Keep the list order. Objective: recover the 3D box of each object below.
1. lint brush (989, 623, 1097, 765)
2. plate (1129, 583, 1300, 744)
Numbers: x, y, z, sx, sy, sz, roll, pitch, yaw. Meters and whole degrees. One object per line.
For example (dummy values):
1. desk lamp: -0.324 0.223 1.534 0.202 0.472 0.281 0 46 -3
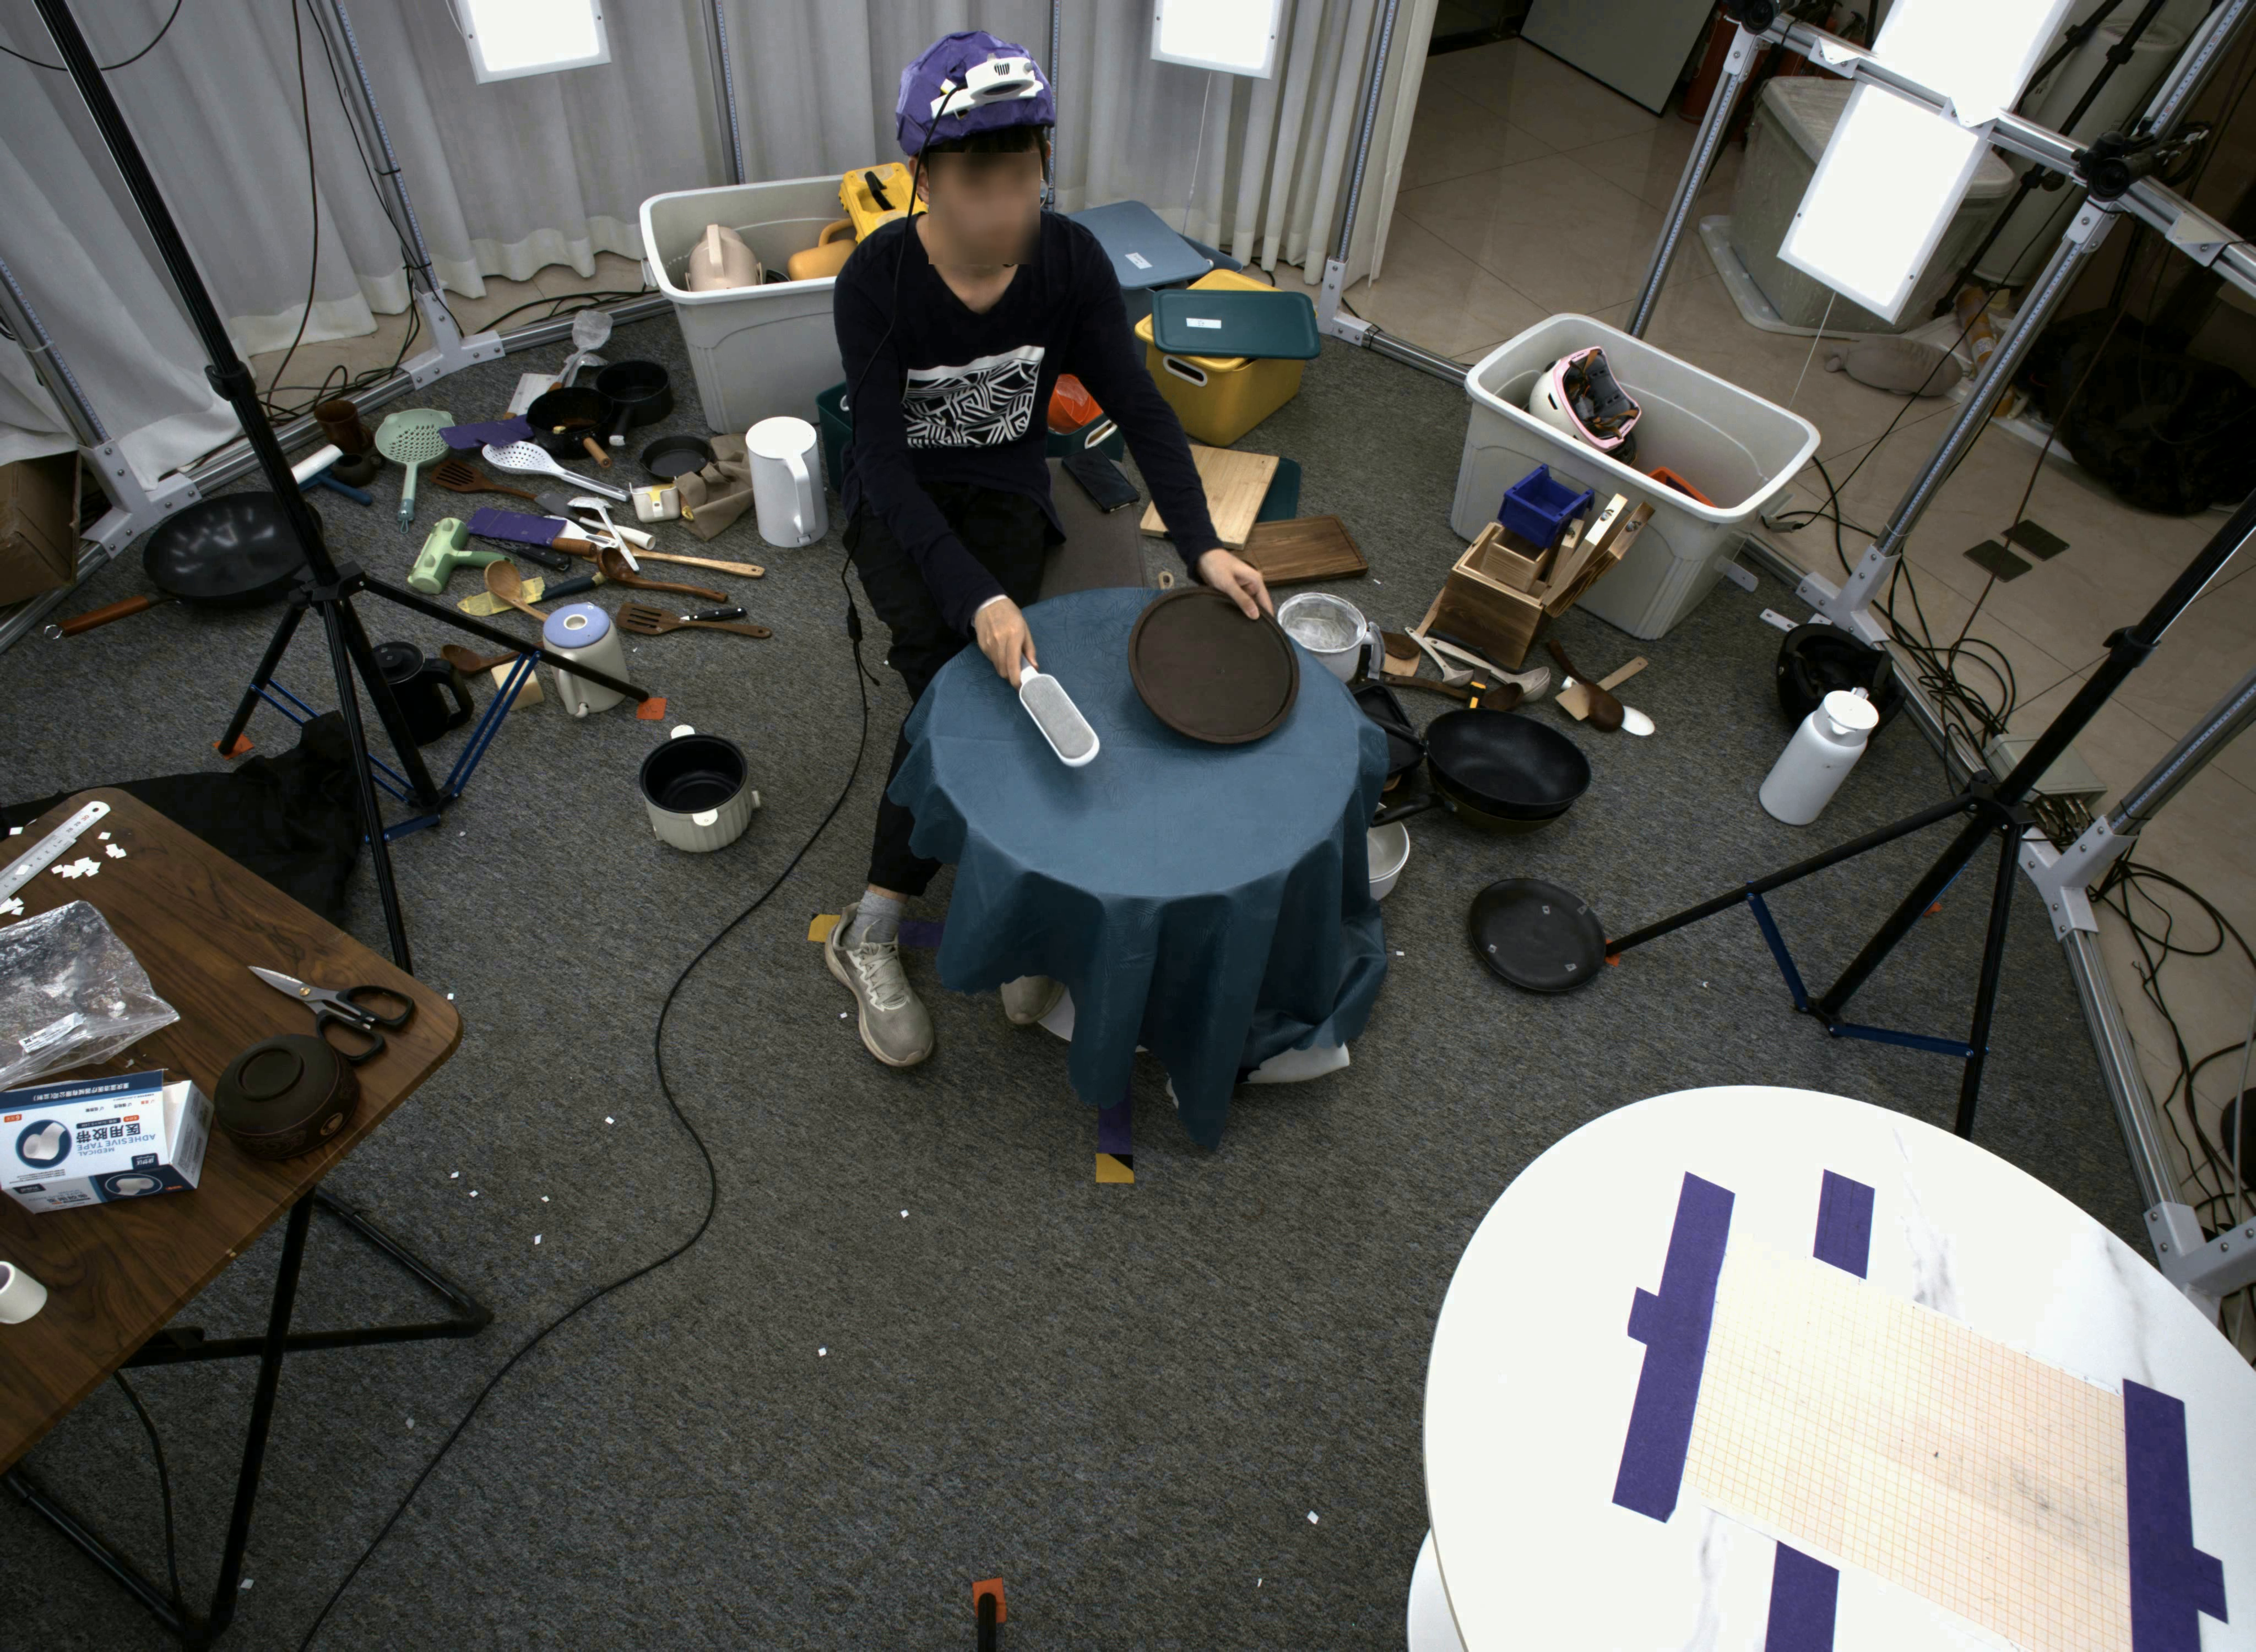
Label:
1. lint brush: -0.122 -0.188 1.756 0.060 0.020 0.316 -35 50 0
2. plate: 0.122 -0.229 1.809 0.254 0.028 0.260 6 64 -14
